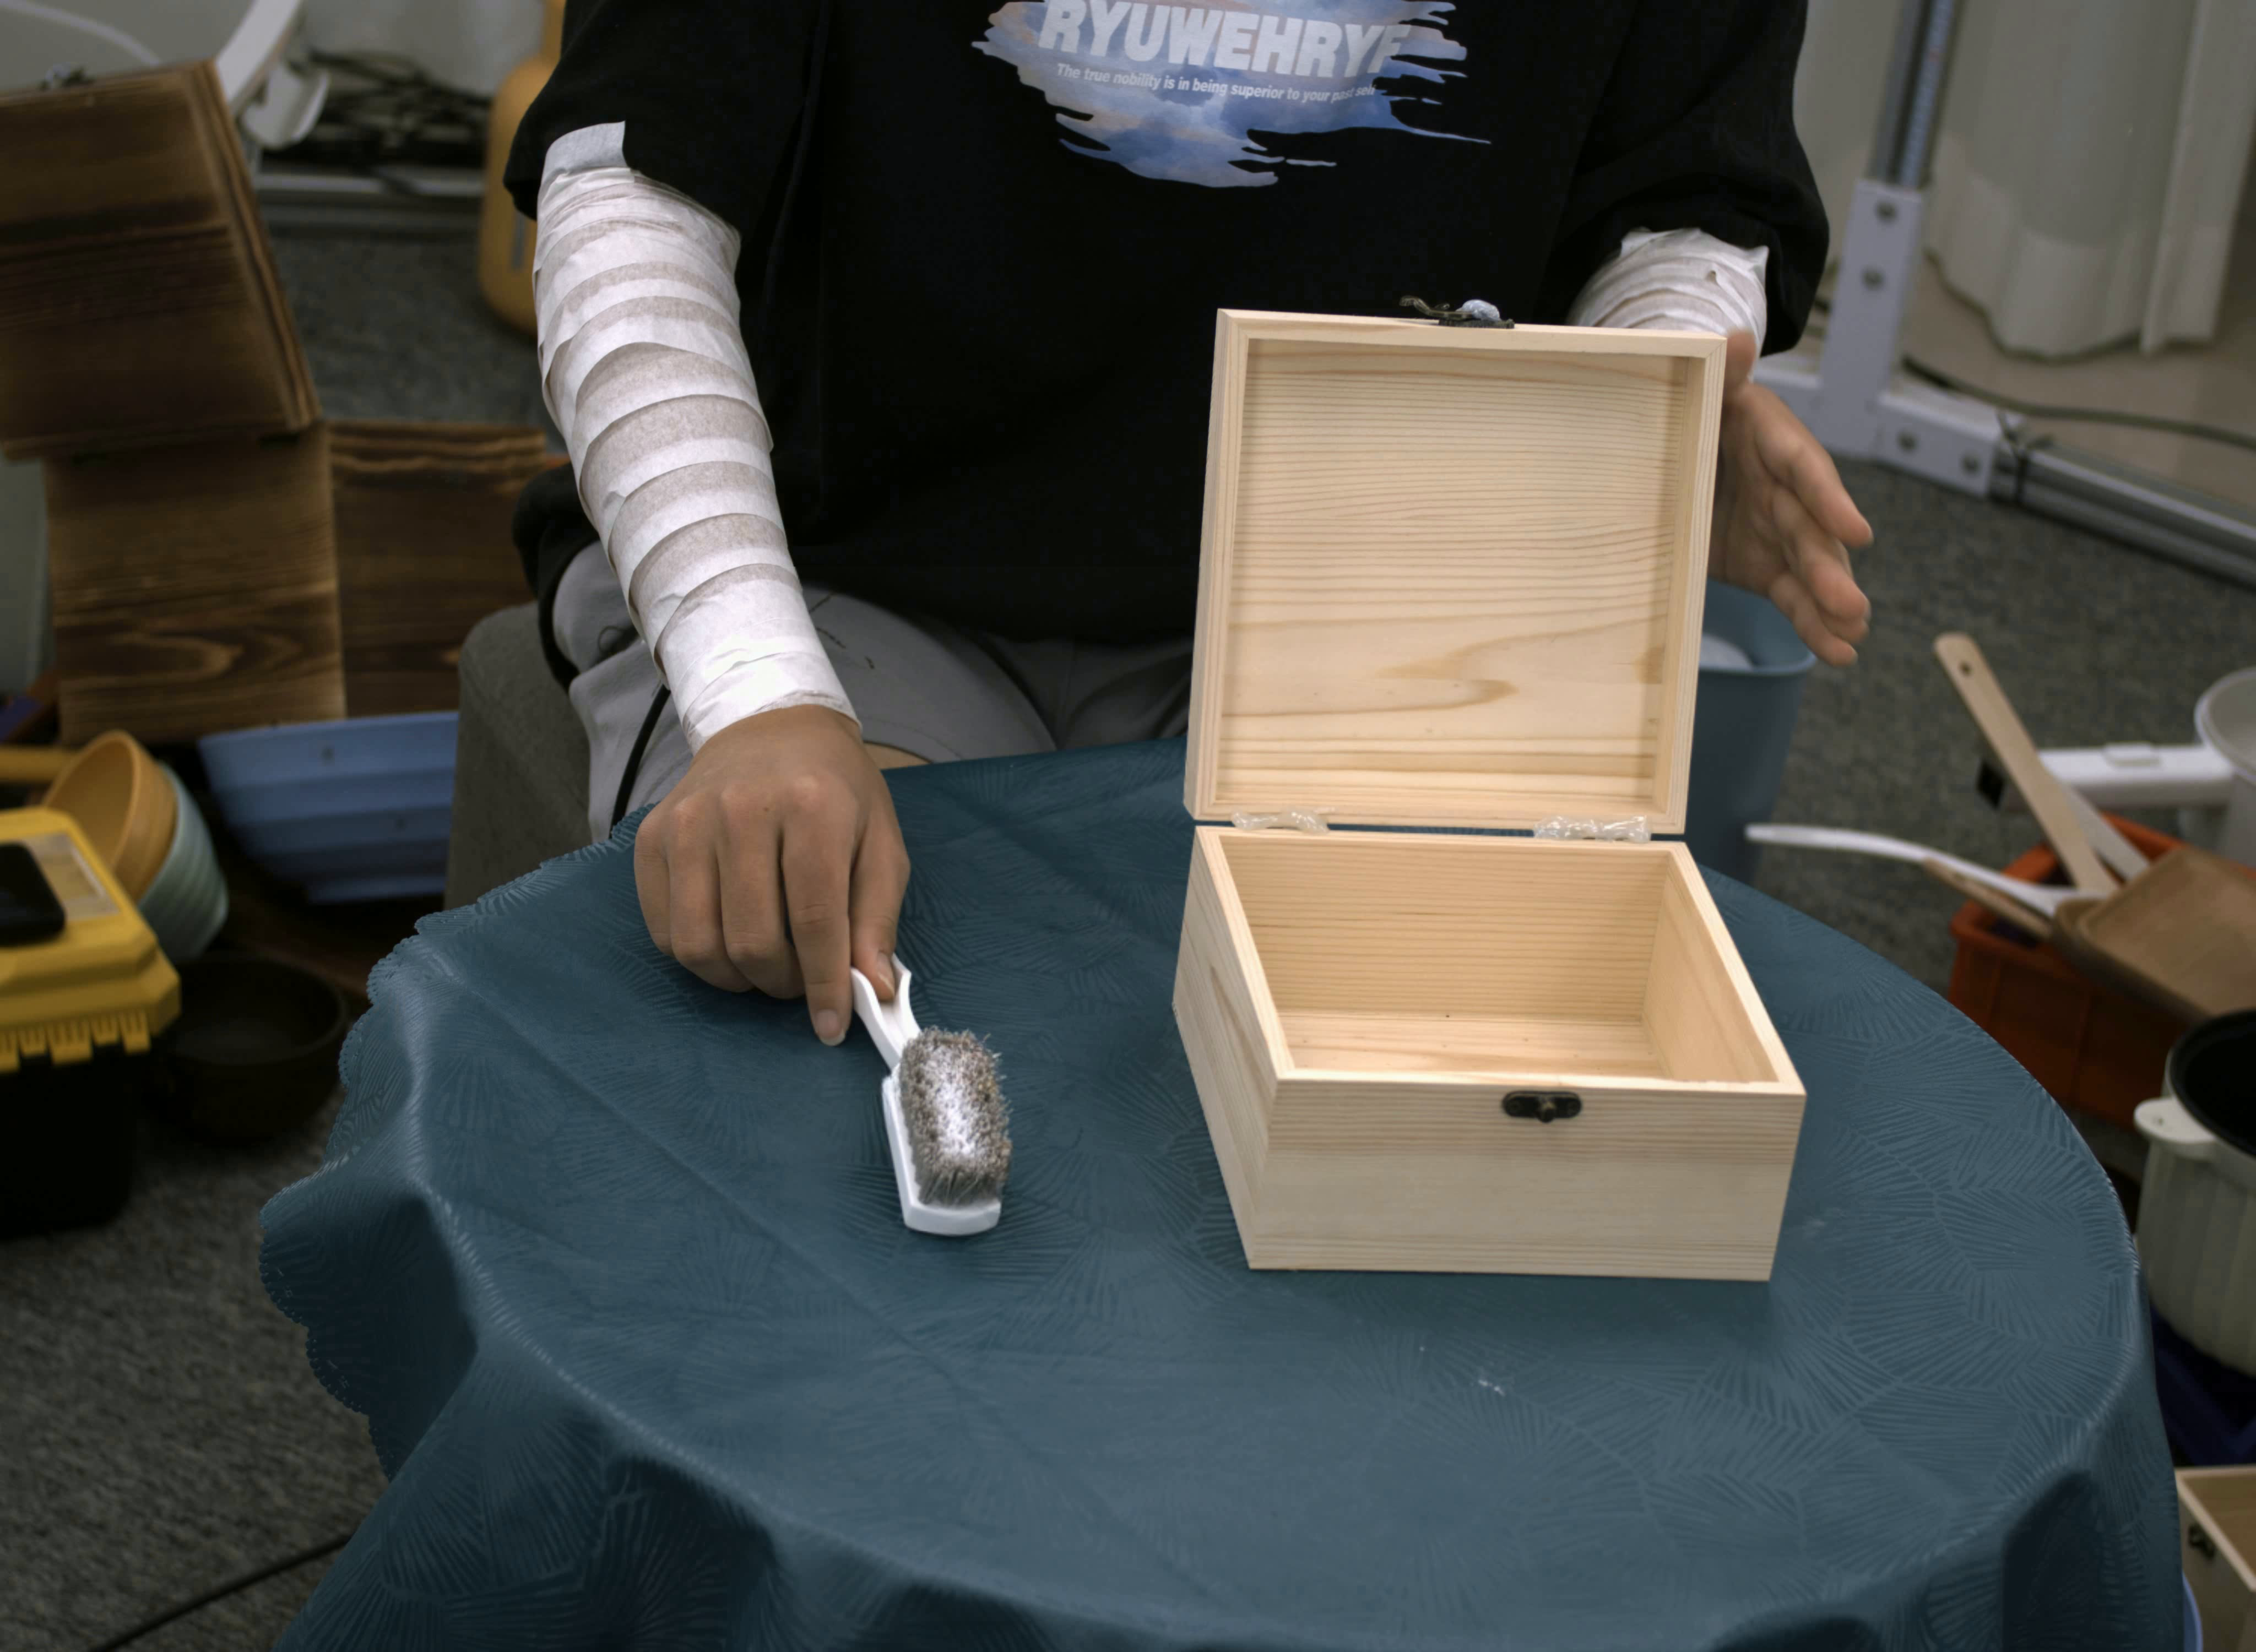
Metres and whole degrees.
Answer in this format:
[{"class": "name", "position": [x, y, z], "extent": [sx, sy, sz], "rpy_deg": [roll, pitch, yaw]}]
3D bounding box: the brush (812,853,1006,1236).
[{"class": "brush", "position": [-0.079, 0.059, 1.847], "extent": [0.034, 0.050, 0.246], "rpy_deg": [3, 30, -15]}]

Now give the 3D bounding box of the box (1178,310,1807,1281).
[{"class": "box", "position": [0.124, -0.016, 1.834], "extent": [0.181, 0.252, 0.267], "rpy_deg": [0, 27, -9]}]
